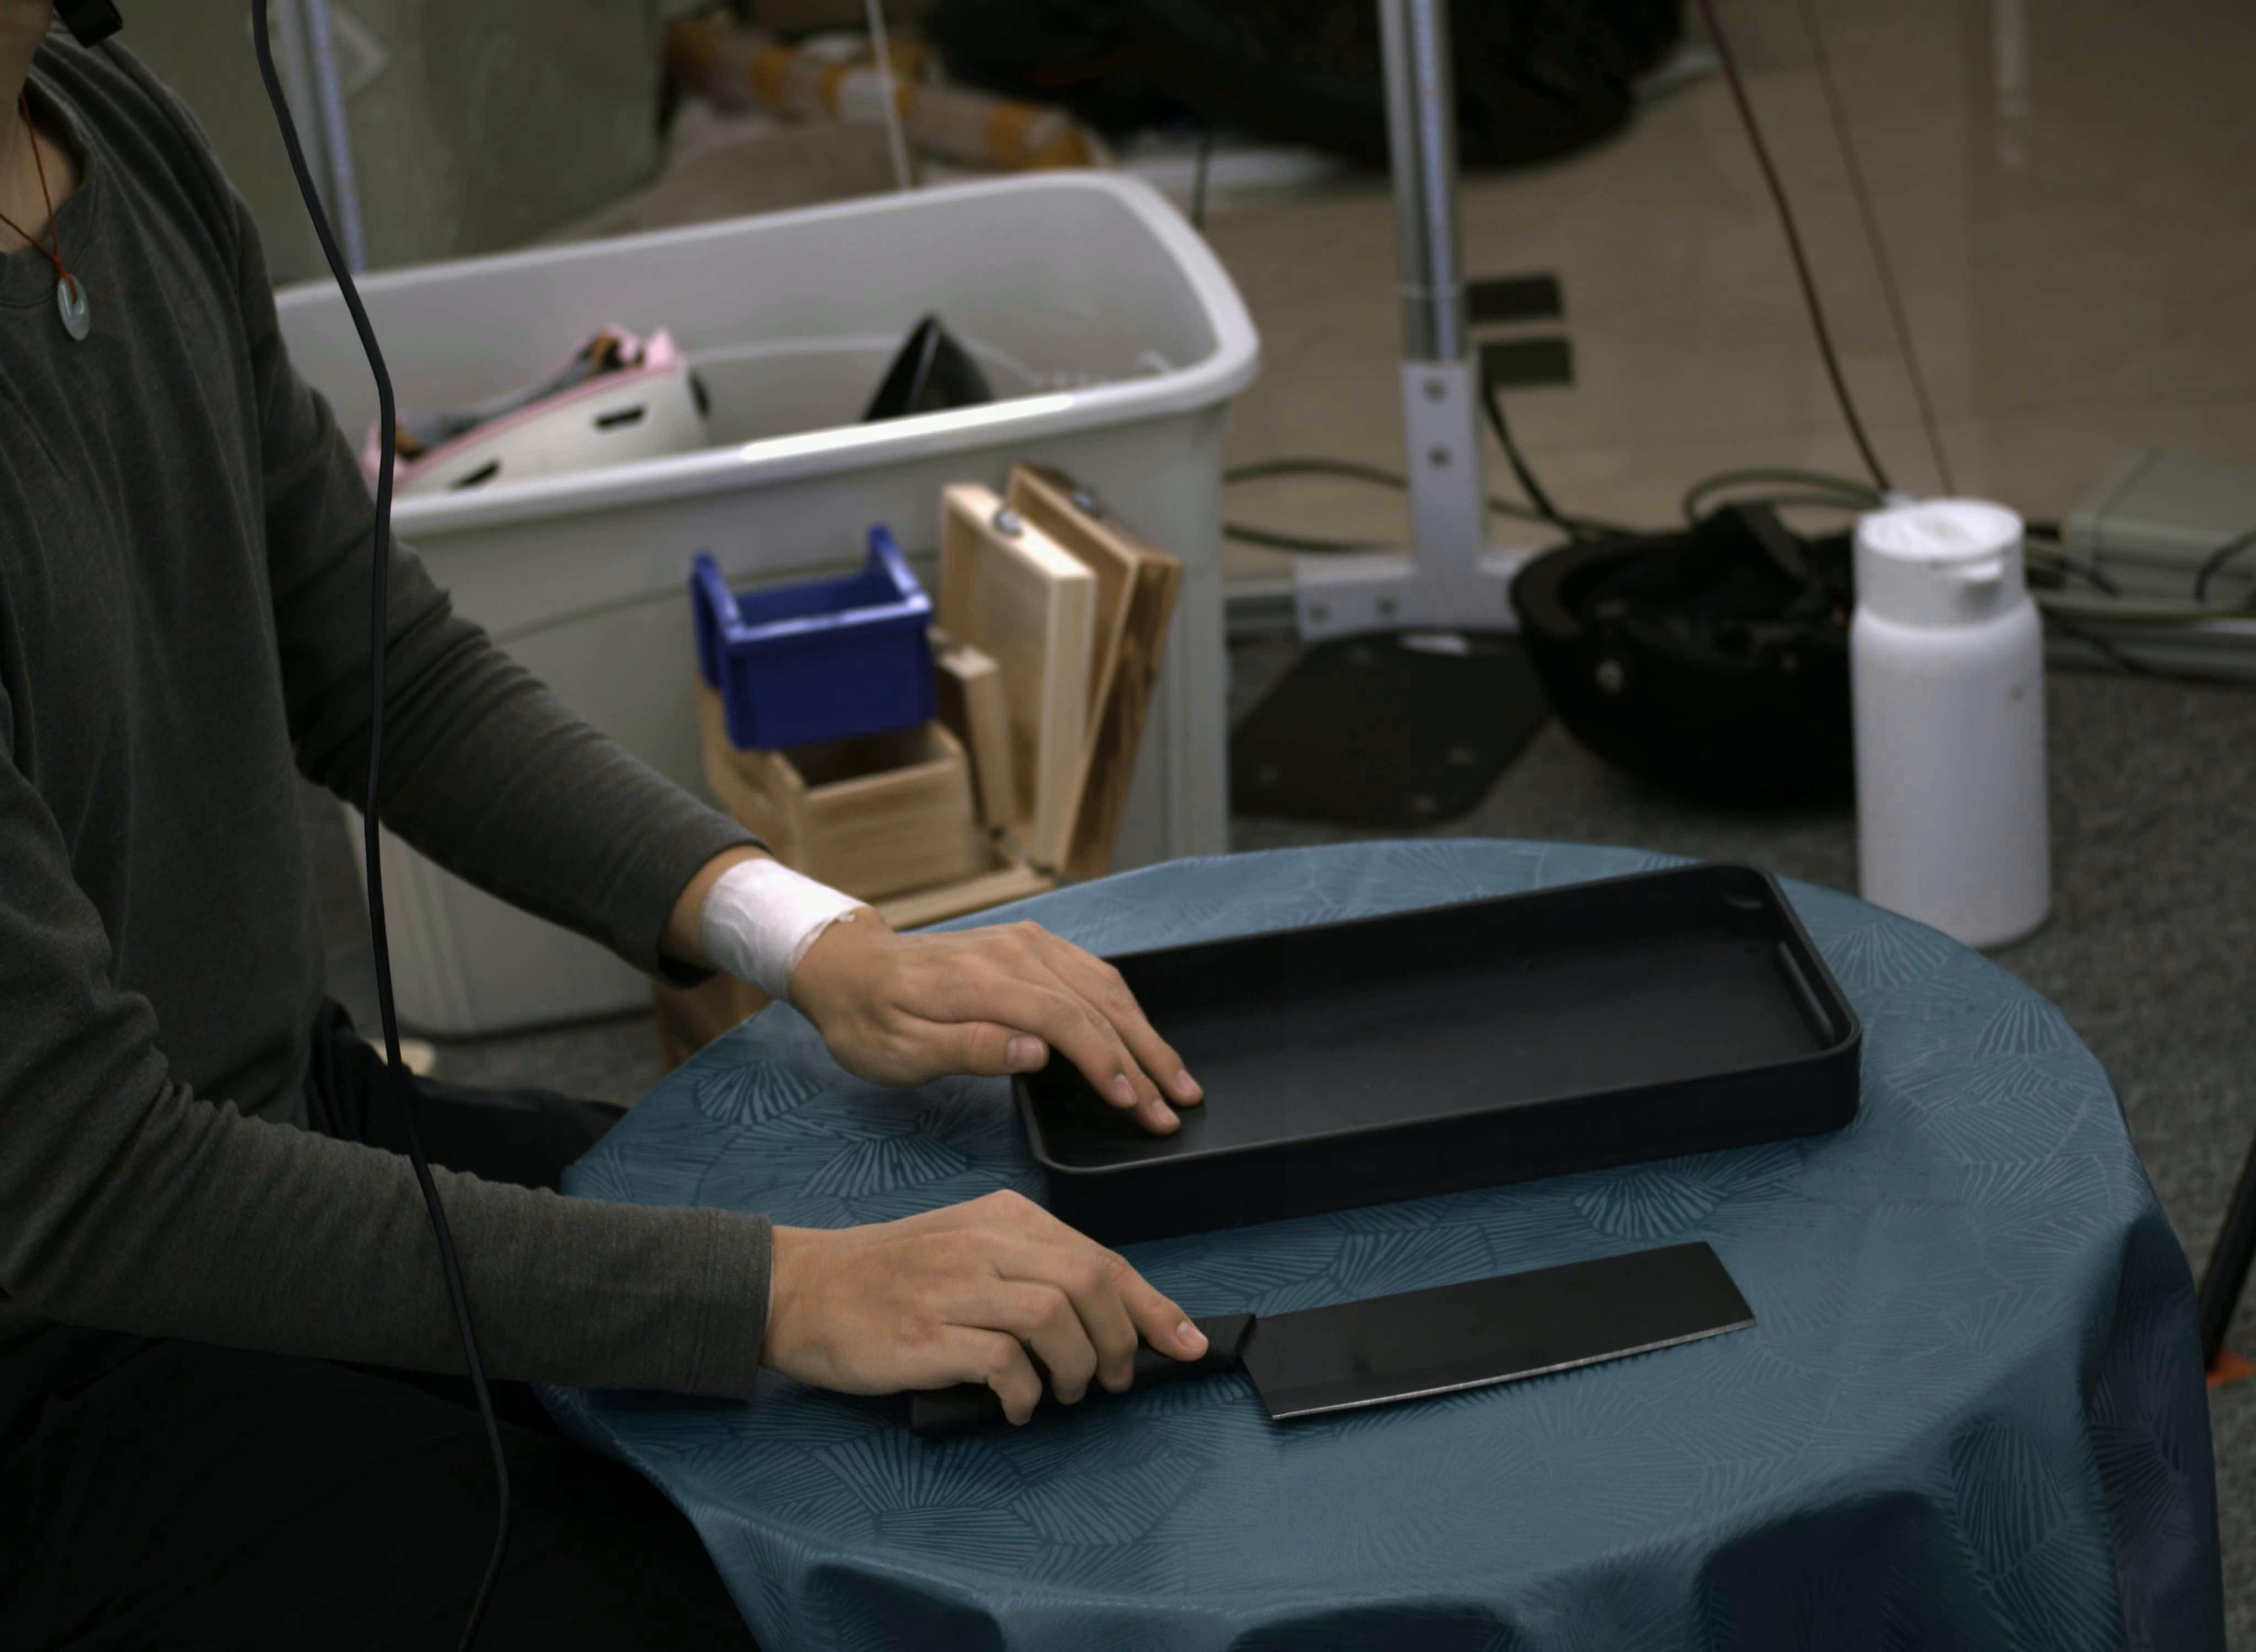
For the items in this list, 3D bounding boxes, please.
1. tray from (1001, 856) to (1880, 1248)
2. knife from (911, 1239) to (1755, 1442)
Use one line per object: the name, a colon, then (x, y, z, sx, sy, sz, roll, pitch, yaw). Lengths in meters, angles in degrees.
tray: (0.118, 0.085, 2.195, 0.317, 0.037, 0.181, -9, 25, -6)
knife: (0.071, 0.186, 2.016, 0.302, 0.021, 0.080, -8, 27, -6)
